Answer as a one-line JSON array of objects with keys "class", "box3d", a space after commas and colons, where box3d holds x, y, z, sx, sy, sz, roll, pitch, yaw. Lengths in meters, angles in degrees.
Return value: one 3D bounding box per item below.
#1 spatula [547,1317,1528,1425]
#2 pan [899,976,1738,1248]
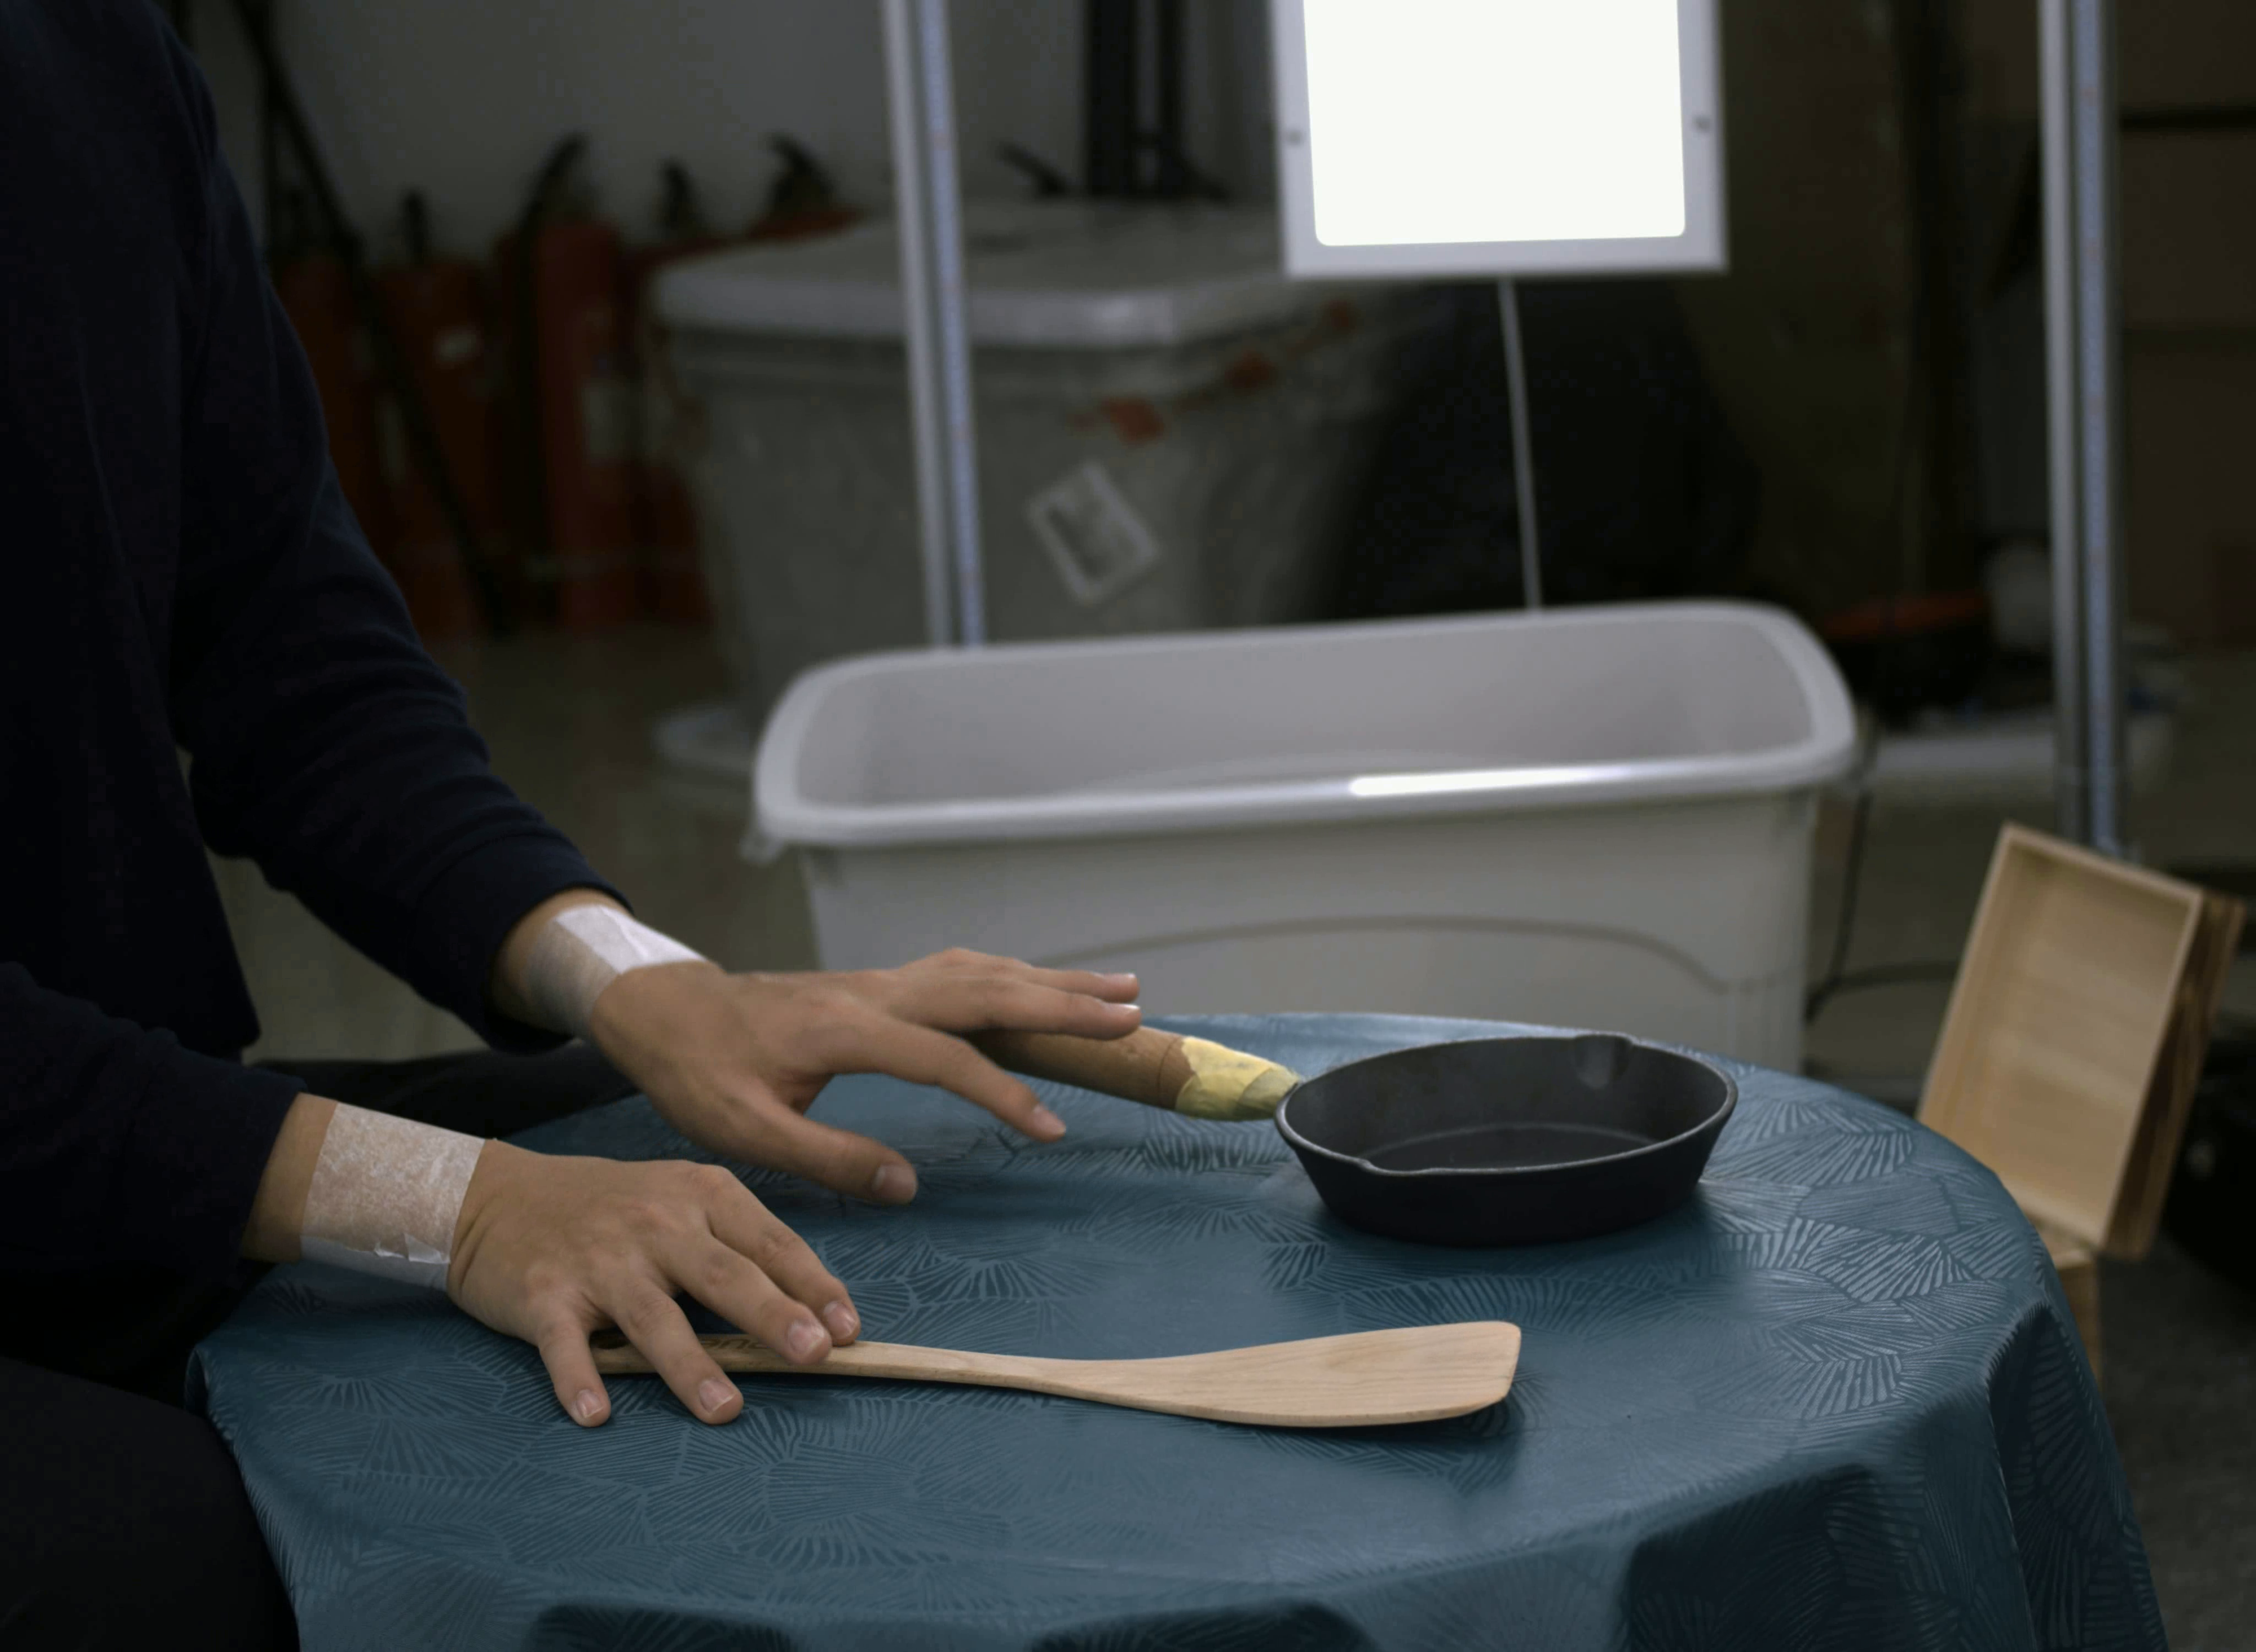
[{"class": "spatula", "box3d": [-0.030, 0.165, 1.715, 0.332, 0.016, 0.078, 0, 15, 21]}, {"class": "pan", "box3d": [0.058, 0.093, 1.906, 0.330, 0.050, 0.165, 6, 18, 34]}]
